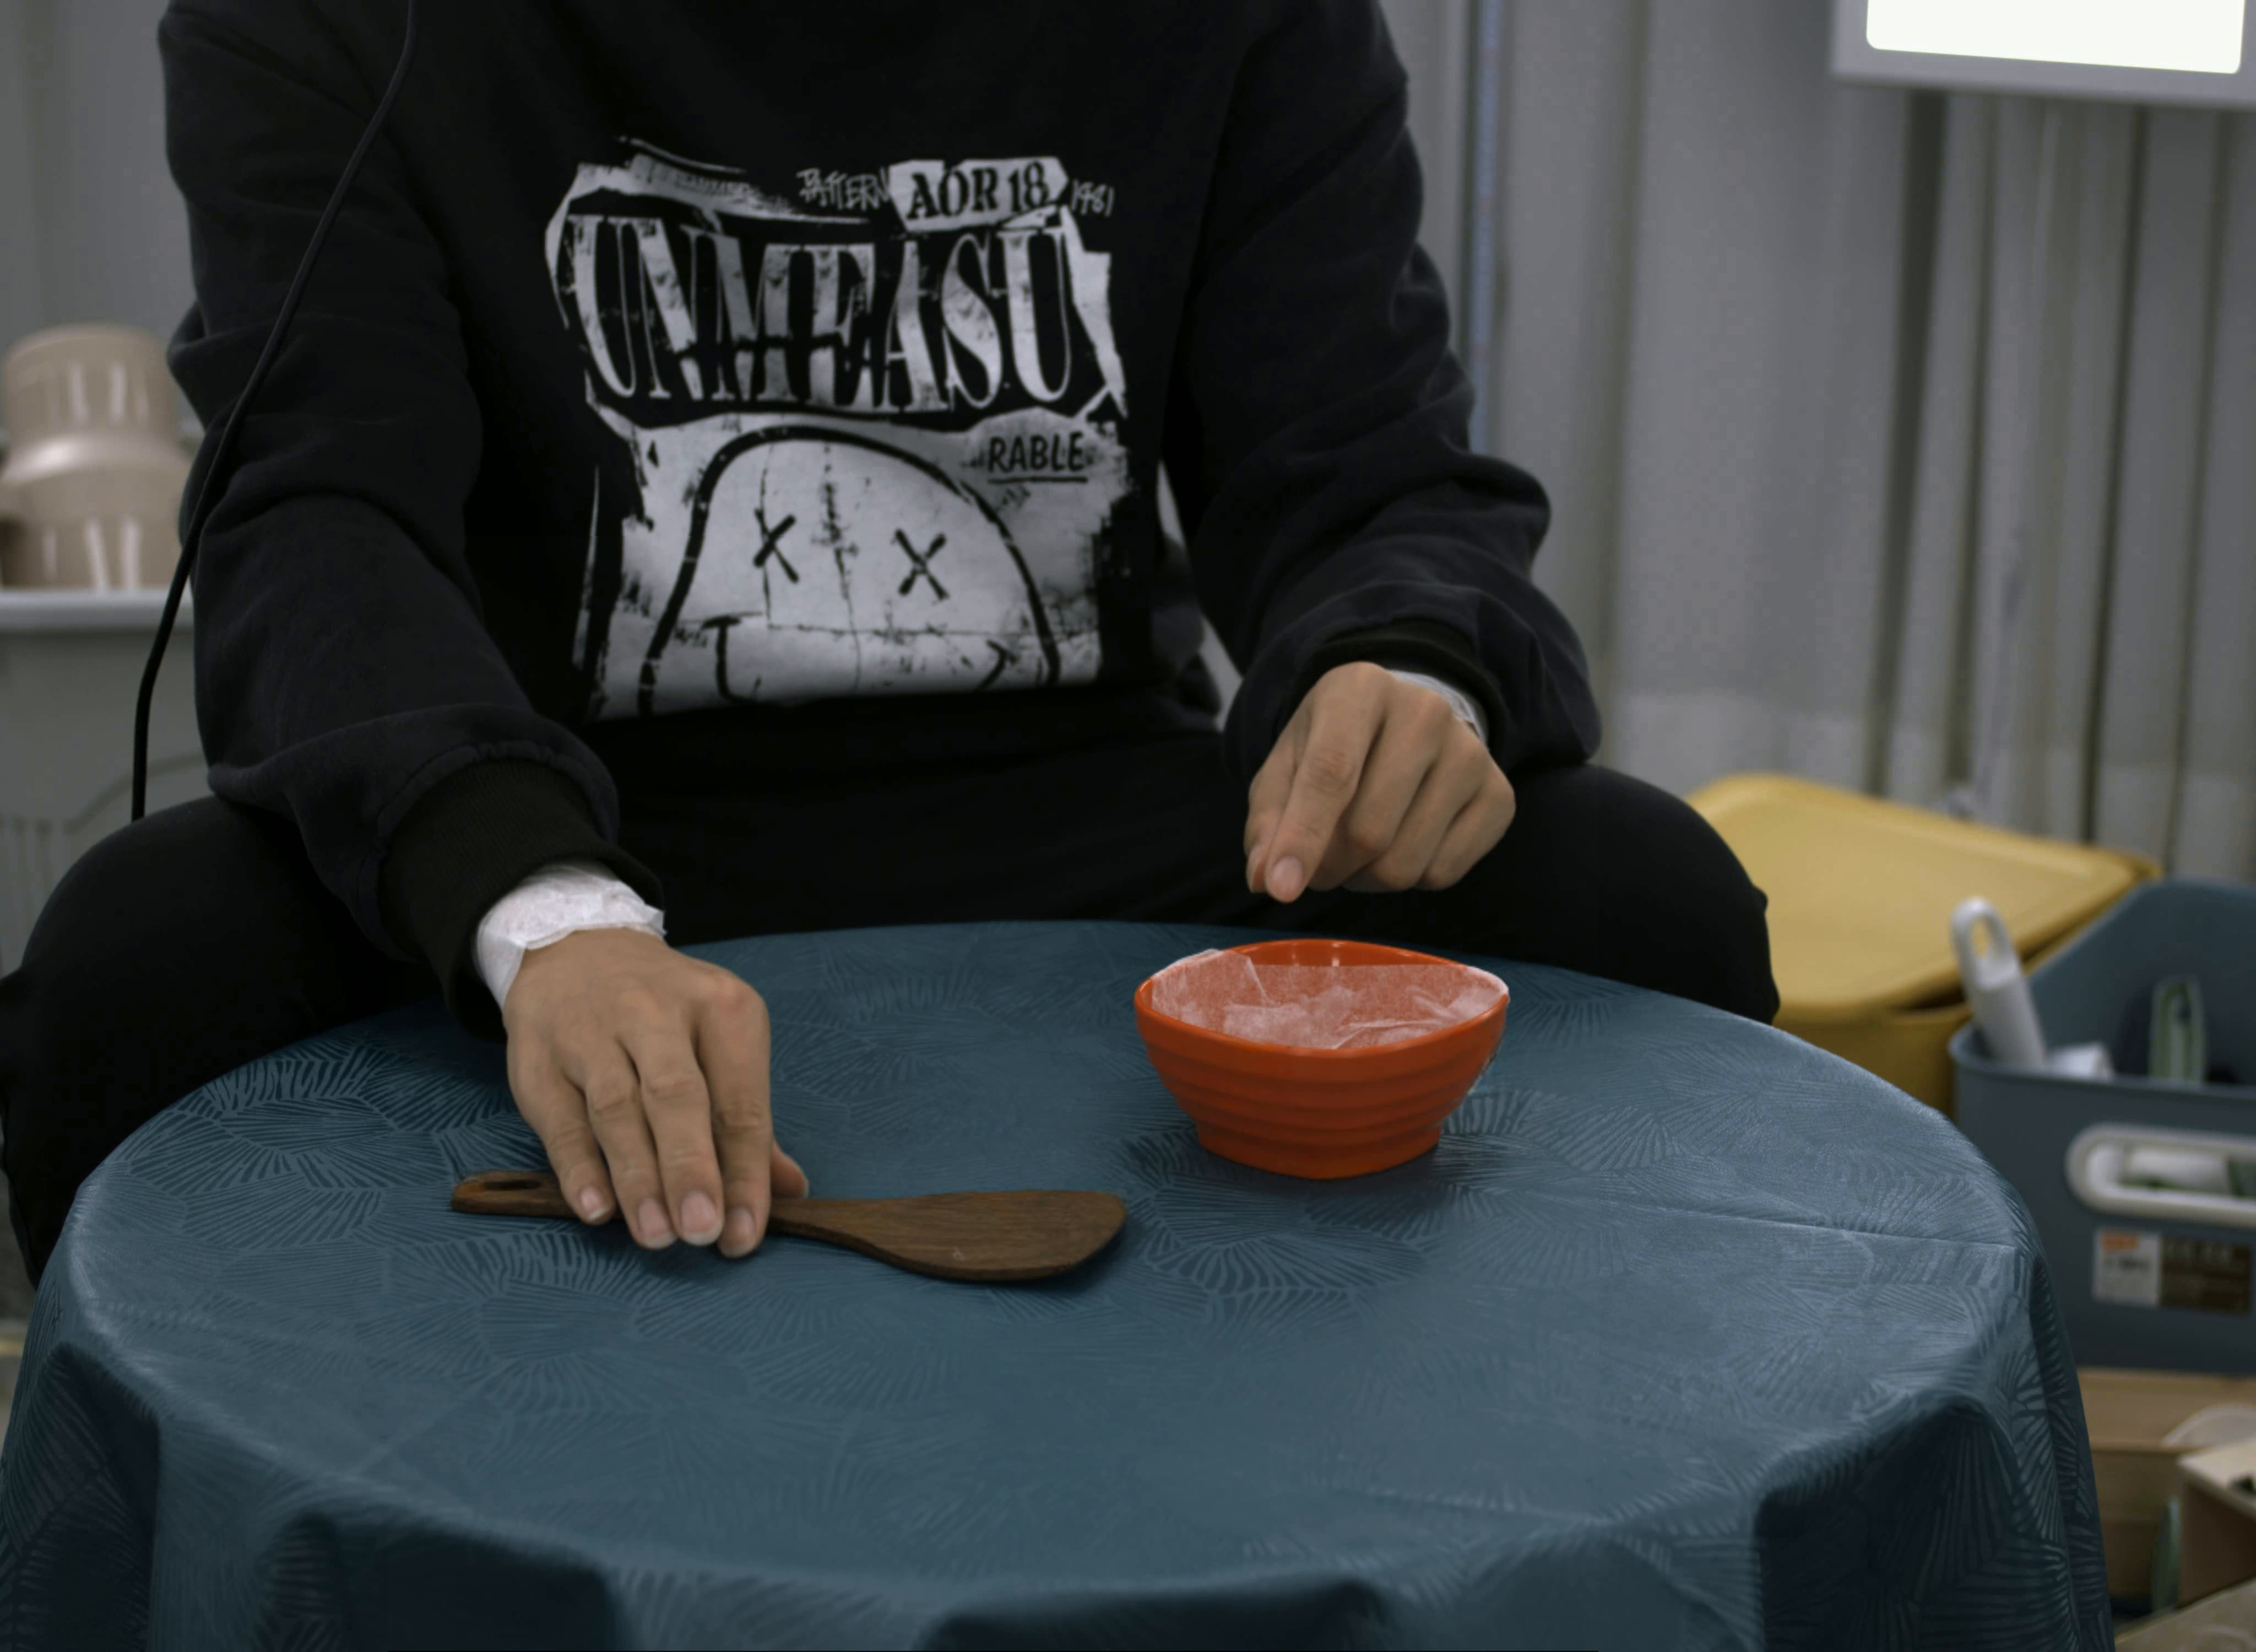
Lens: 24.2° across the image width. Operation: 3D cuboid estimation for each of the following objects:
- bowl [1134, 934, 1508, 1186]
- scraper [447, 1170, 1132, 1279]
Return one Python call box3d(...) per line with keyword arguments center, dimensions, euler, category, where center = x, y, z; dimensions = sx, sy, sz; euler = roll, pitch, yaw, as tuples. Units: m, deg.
box3d(center=(0.061, 0.076, 1.666), dimensions=(0.118, 0.052, 0.118), euler=(0, 18, 0), category="bowl")
box3d(center=(-0.104, 0.117, 1.591), dimensions=(0.210, 0.011, 0.076), euler=(4, 15, 13), category="scraper")
